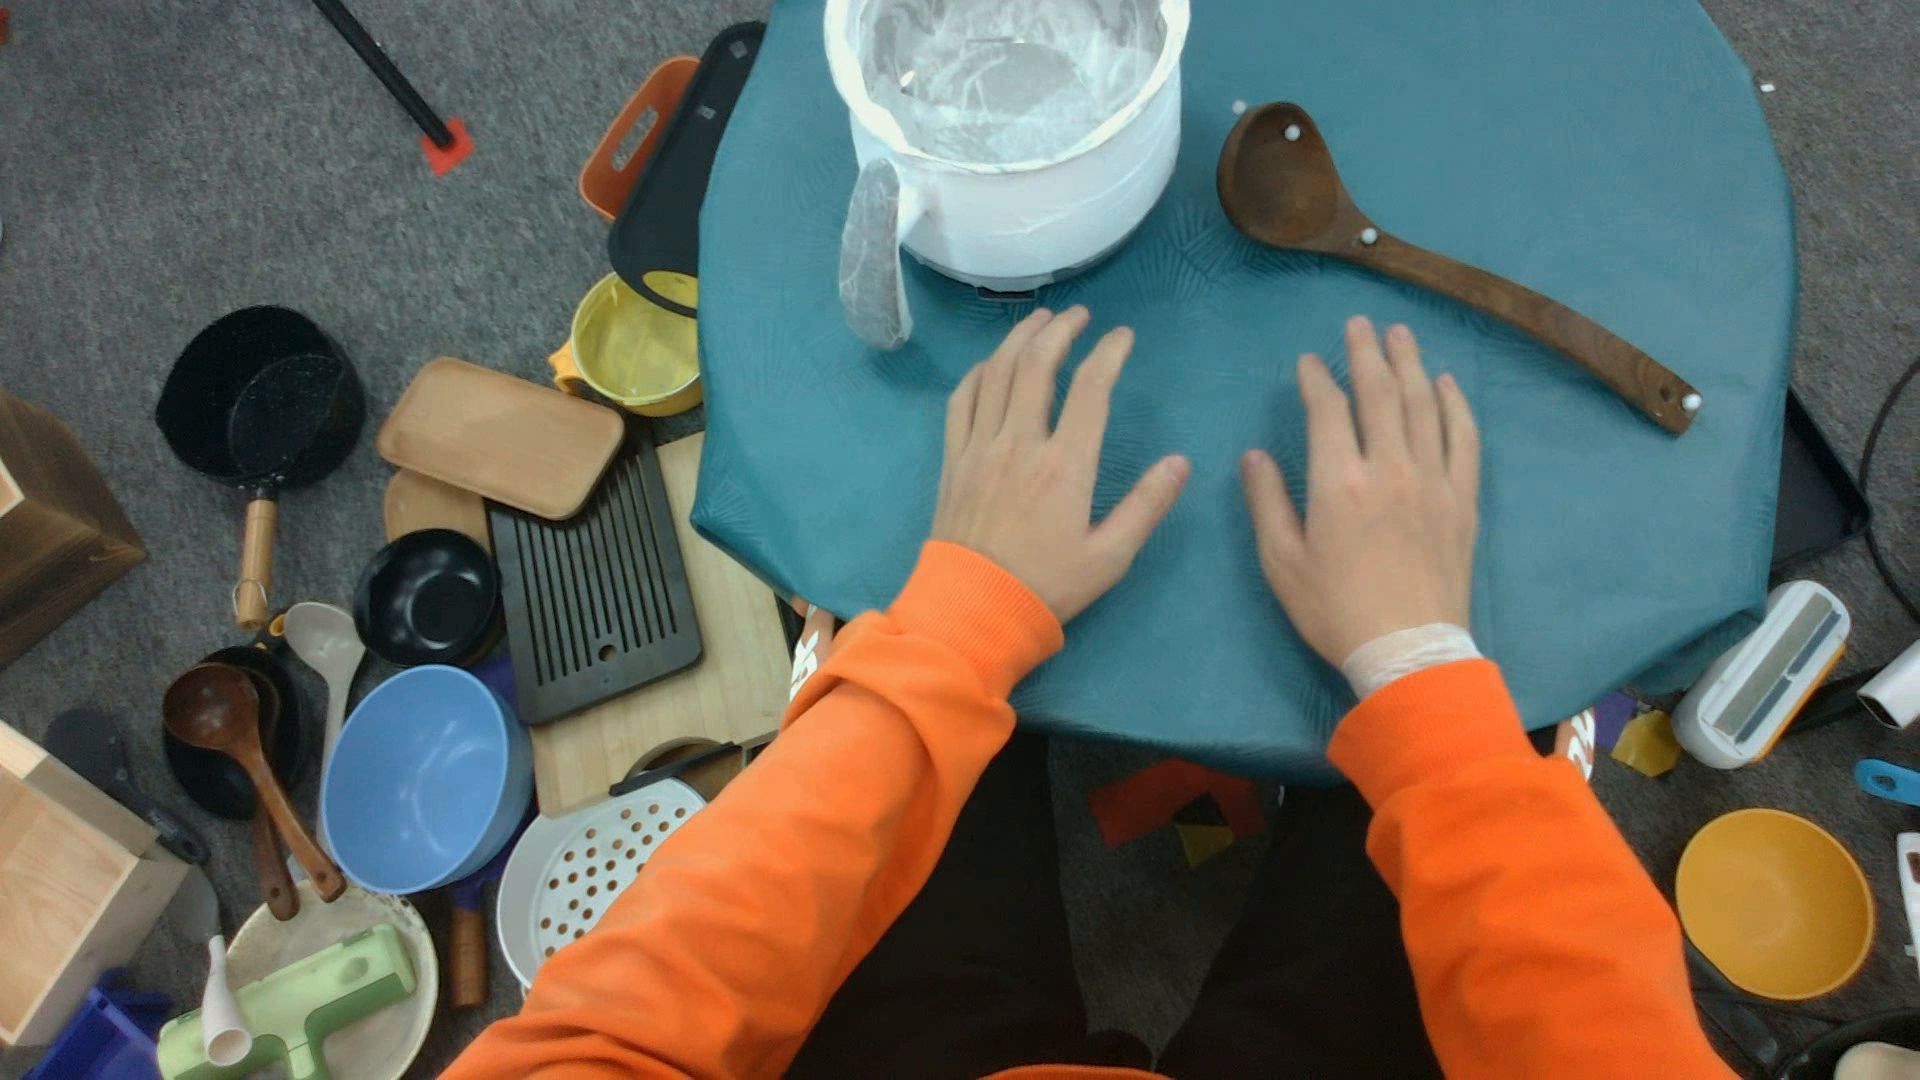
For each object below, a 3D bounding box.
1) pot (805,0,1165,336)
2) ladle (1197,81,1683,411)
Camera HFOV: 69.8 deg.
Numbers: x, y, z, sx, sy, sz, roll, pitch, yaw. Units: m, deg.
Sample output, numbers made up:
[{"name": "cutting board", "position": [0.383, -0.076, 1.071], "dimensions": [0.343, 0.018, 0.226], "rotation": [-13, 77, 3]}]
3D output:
[{"name": "pot", "position": [0.003, -0.220, 0.722], "dimensions": [0.179, 0.136, 0.234], "rotation": [30, 77, 15]}, {"name": "ladle", "position": [0.248, -0.151, 0.709], "dimensions": [0.274, 0.071, 0.076], "rotation": [31, 82, 15]}]
